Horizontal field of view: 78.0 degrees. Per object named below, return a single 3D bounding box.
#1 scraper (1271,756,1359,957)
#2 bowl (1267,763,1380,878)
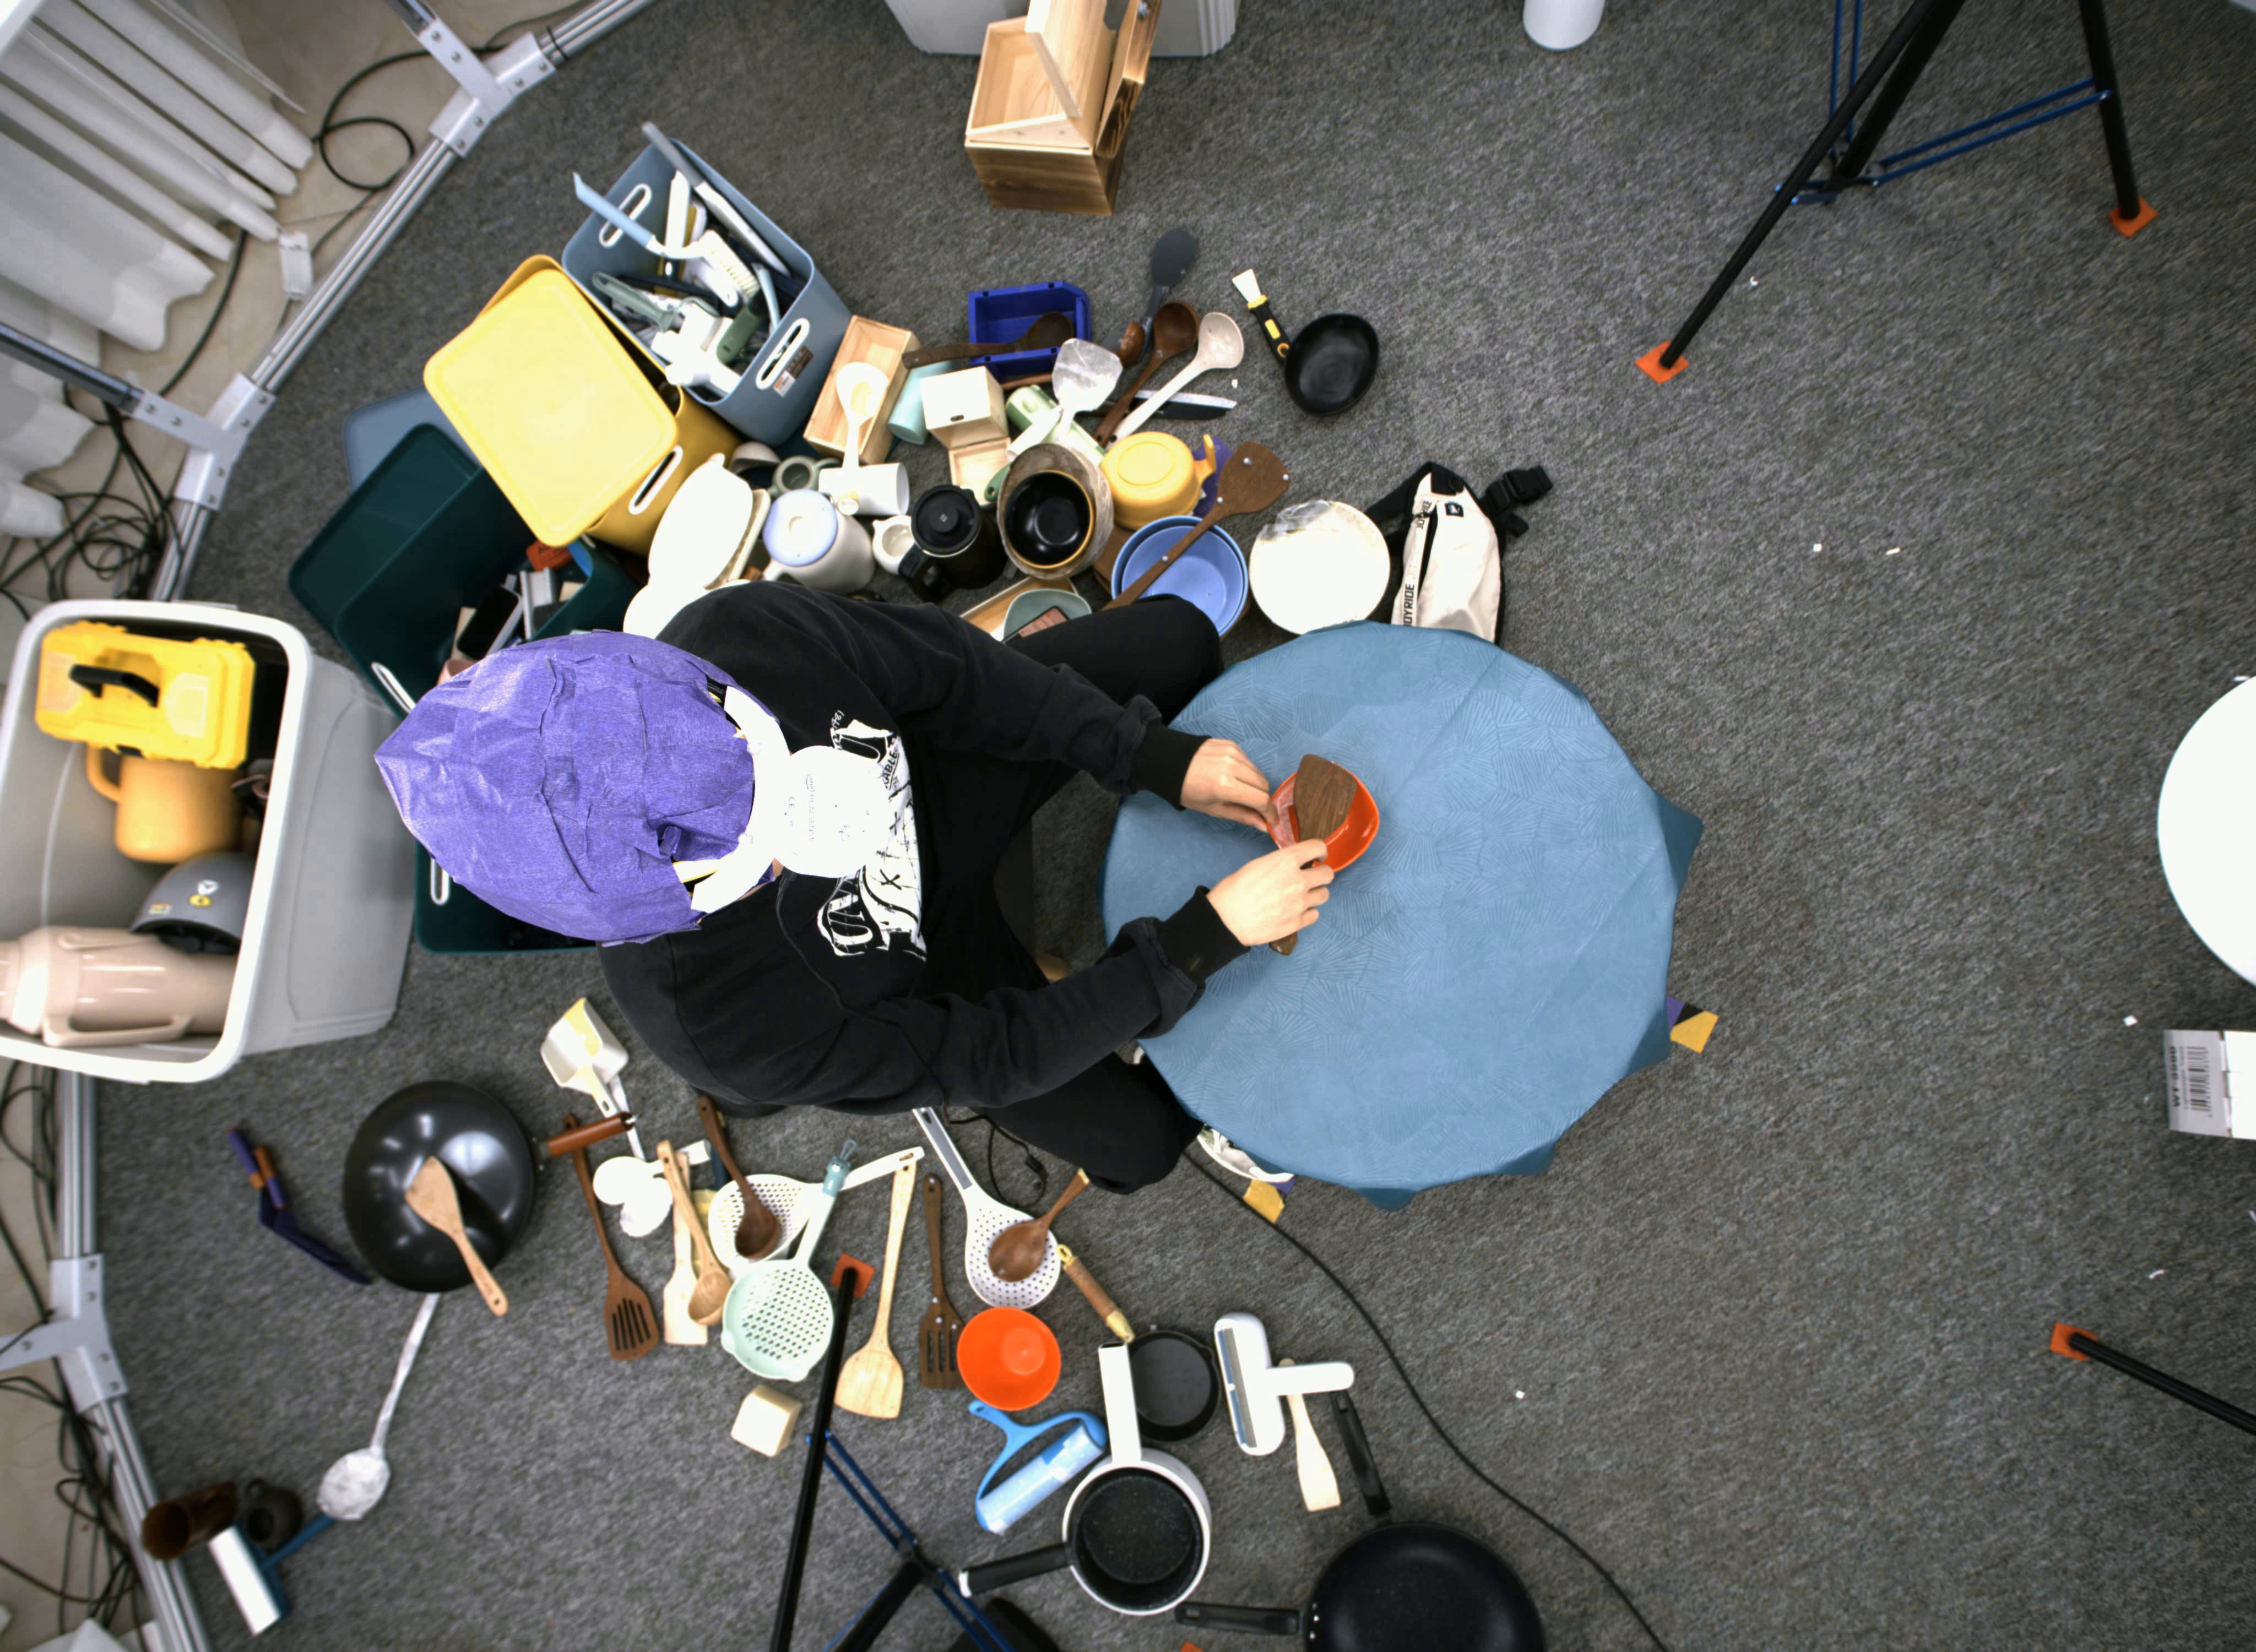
[{"bbox_3d":[0.178,0.031,1.378,0.076,0.011,0.207,27,68,-22],"label":"scraper"},{"bbox_3d":[0.201,-0.007,1.450,0.119,0.051,0.119,0,95,-4],"label":"bowl"}]
